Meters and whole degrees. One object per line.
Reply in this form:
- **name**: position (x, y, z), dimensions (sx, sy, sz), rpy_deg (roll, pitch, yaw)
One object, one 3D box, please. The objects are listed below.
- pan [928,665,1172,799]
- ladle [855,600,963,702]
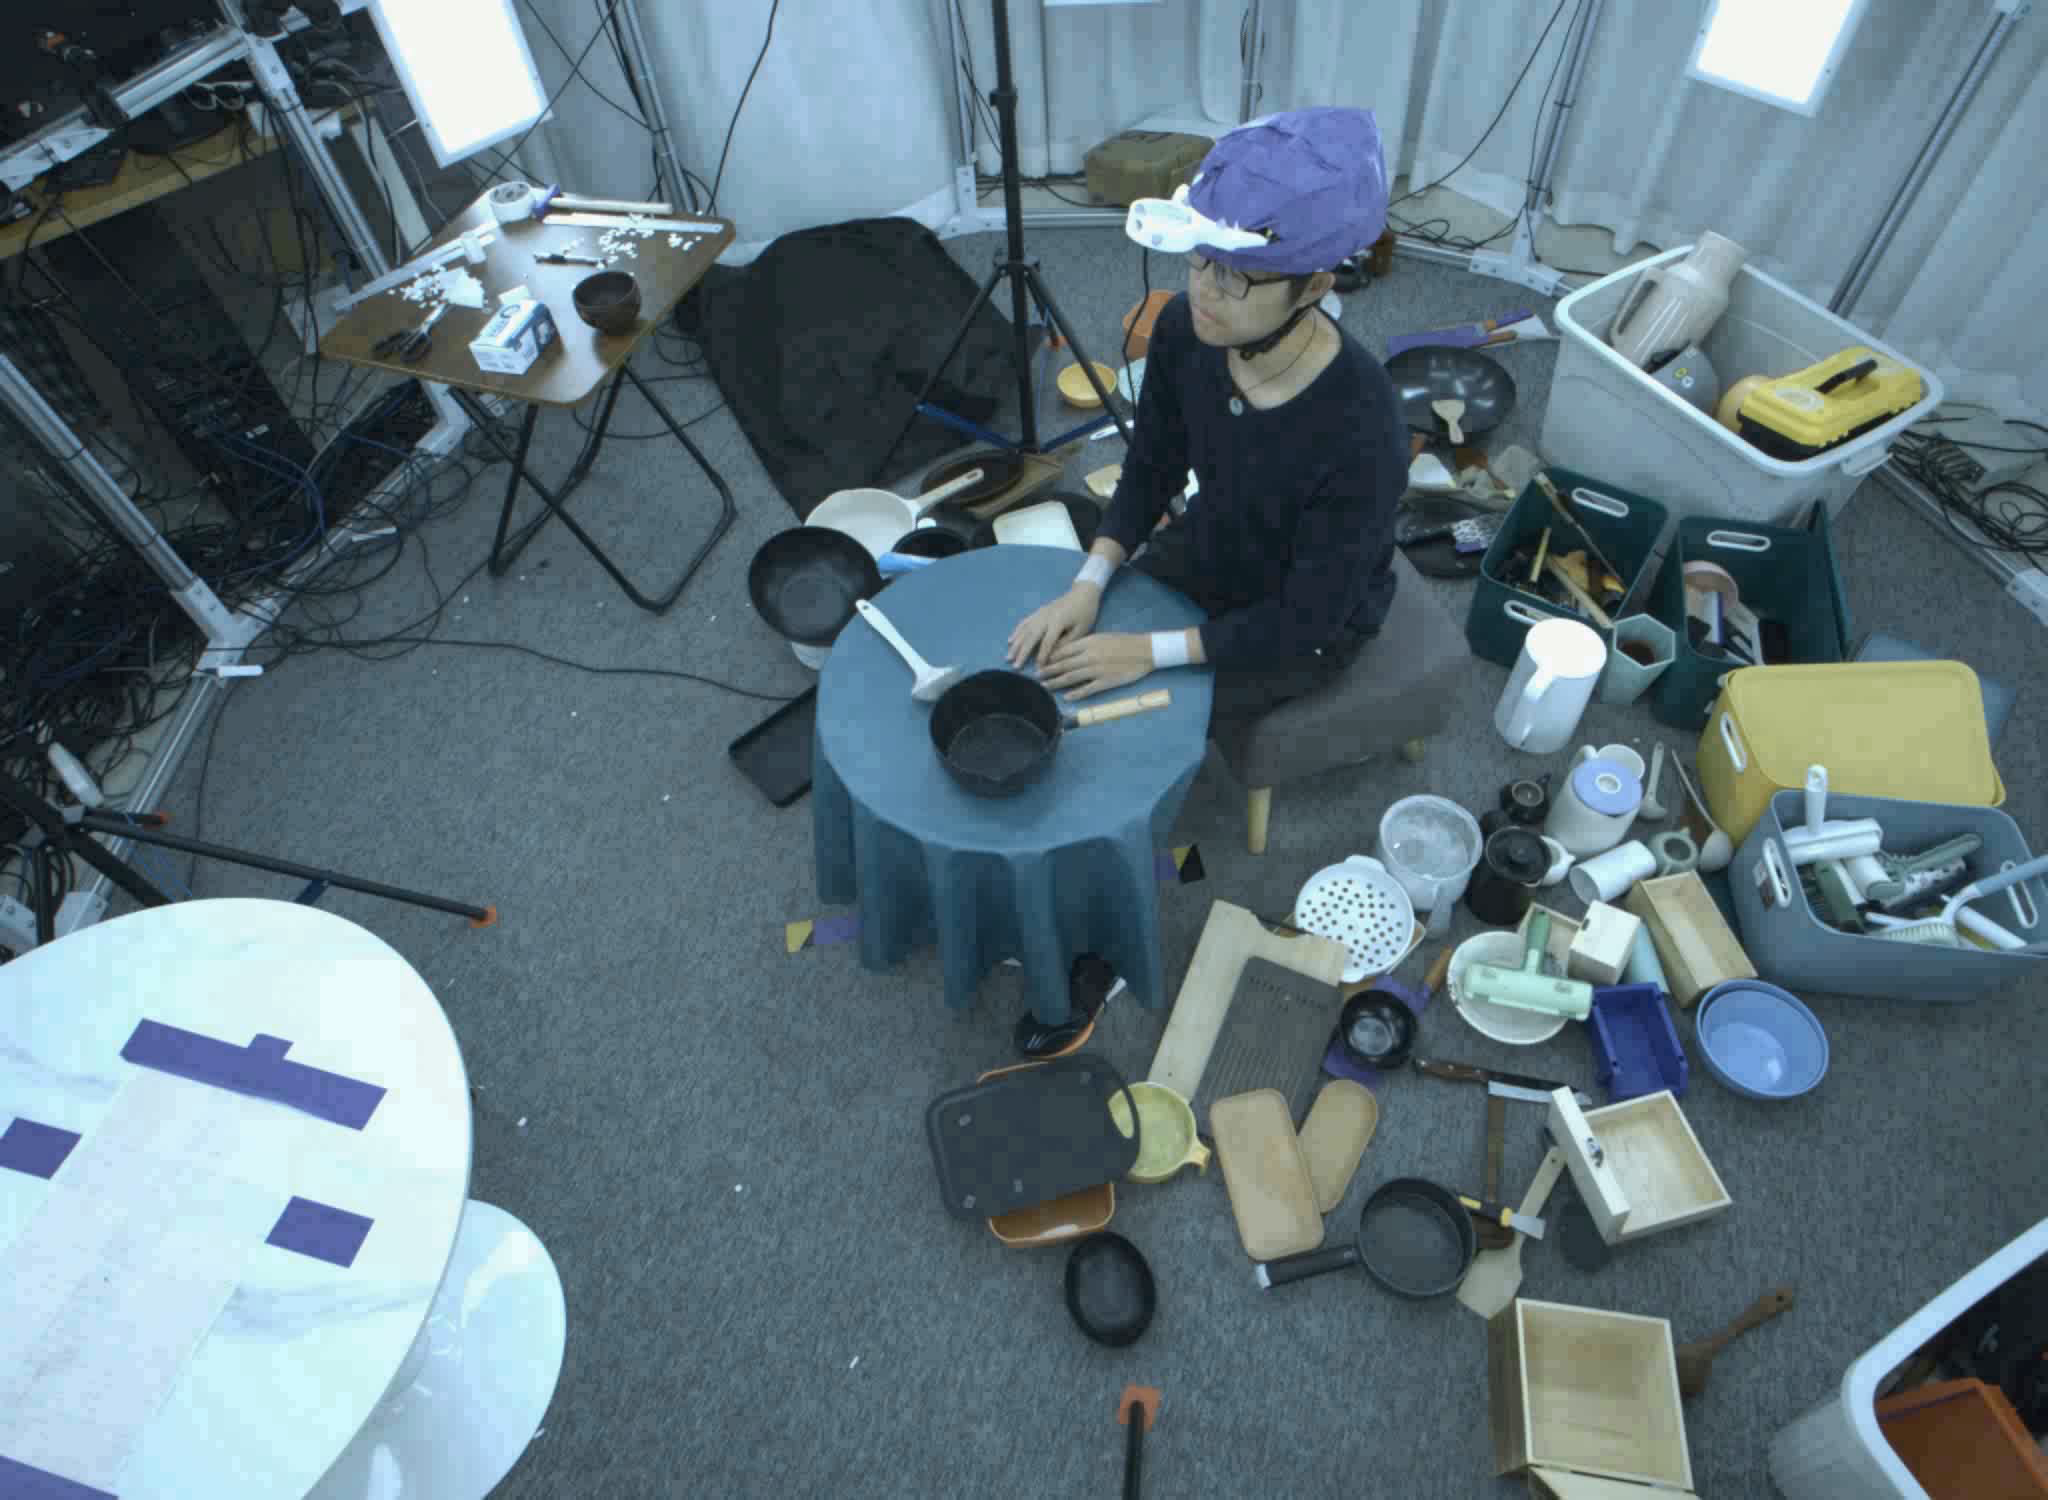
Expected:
- **pan**: position (0.039, -0.032, 1.742), dimensions (0.343, 0.109, 0.204), rpy_deg (-7, 54, -1)
- **ladle**: position (-0.193, -0.171, 1.875), dimensions (0.090, 0.070, 0.269), rpy_deg (-37, 60, -12)
